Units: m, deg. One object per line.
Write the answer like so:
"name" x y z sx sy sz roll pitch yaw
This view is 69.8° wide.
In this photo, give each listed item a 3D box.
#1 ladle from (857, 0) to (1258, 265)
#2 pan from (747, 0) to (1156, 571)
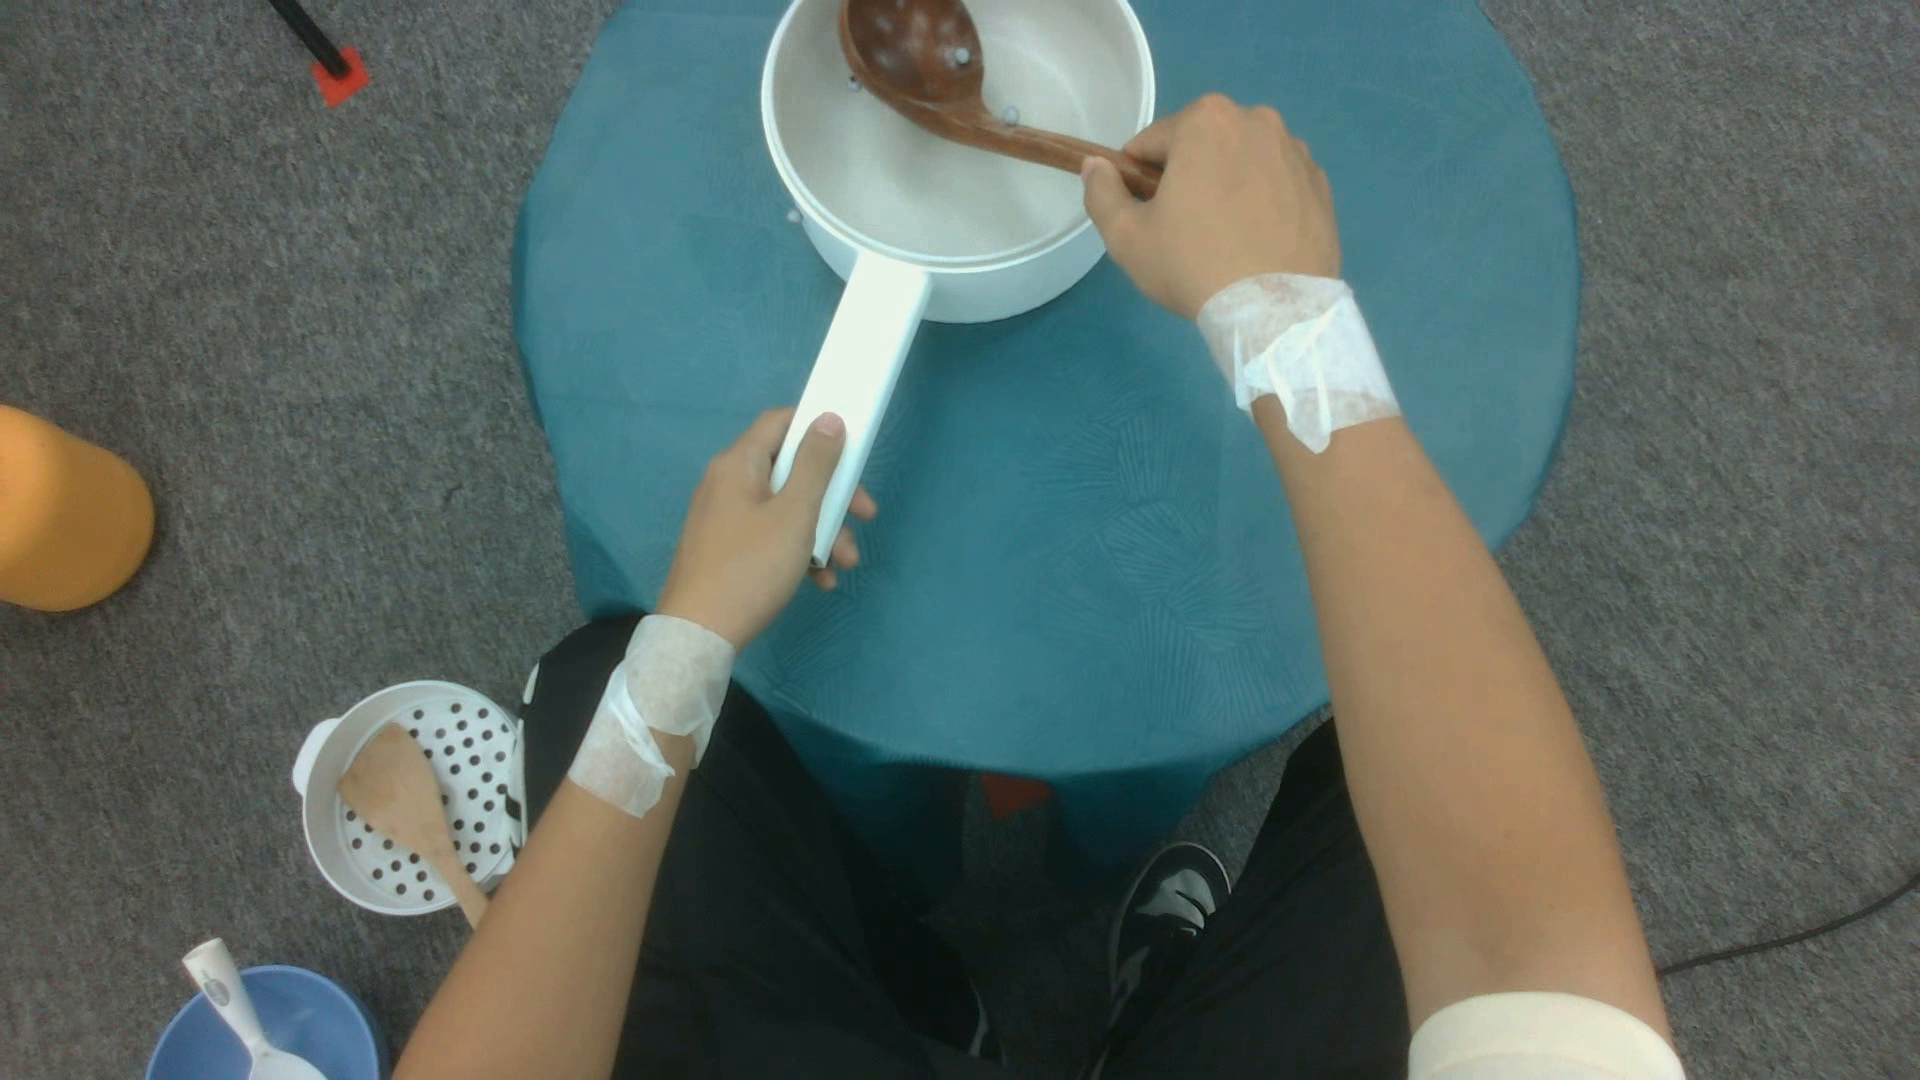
"ladle" 0.044 -0.209 0.658 0.082 0.076 0.274 -24 38 -26
"pan" -0.022 -0.145 0.747 0.201 0.102 0.355 19 77 7
